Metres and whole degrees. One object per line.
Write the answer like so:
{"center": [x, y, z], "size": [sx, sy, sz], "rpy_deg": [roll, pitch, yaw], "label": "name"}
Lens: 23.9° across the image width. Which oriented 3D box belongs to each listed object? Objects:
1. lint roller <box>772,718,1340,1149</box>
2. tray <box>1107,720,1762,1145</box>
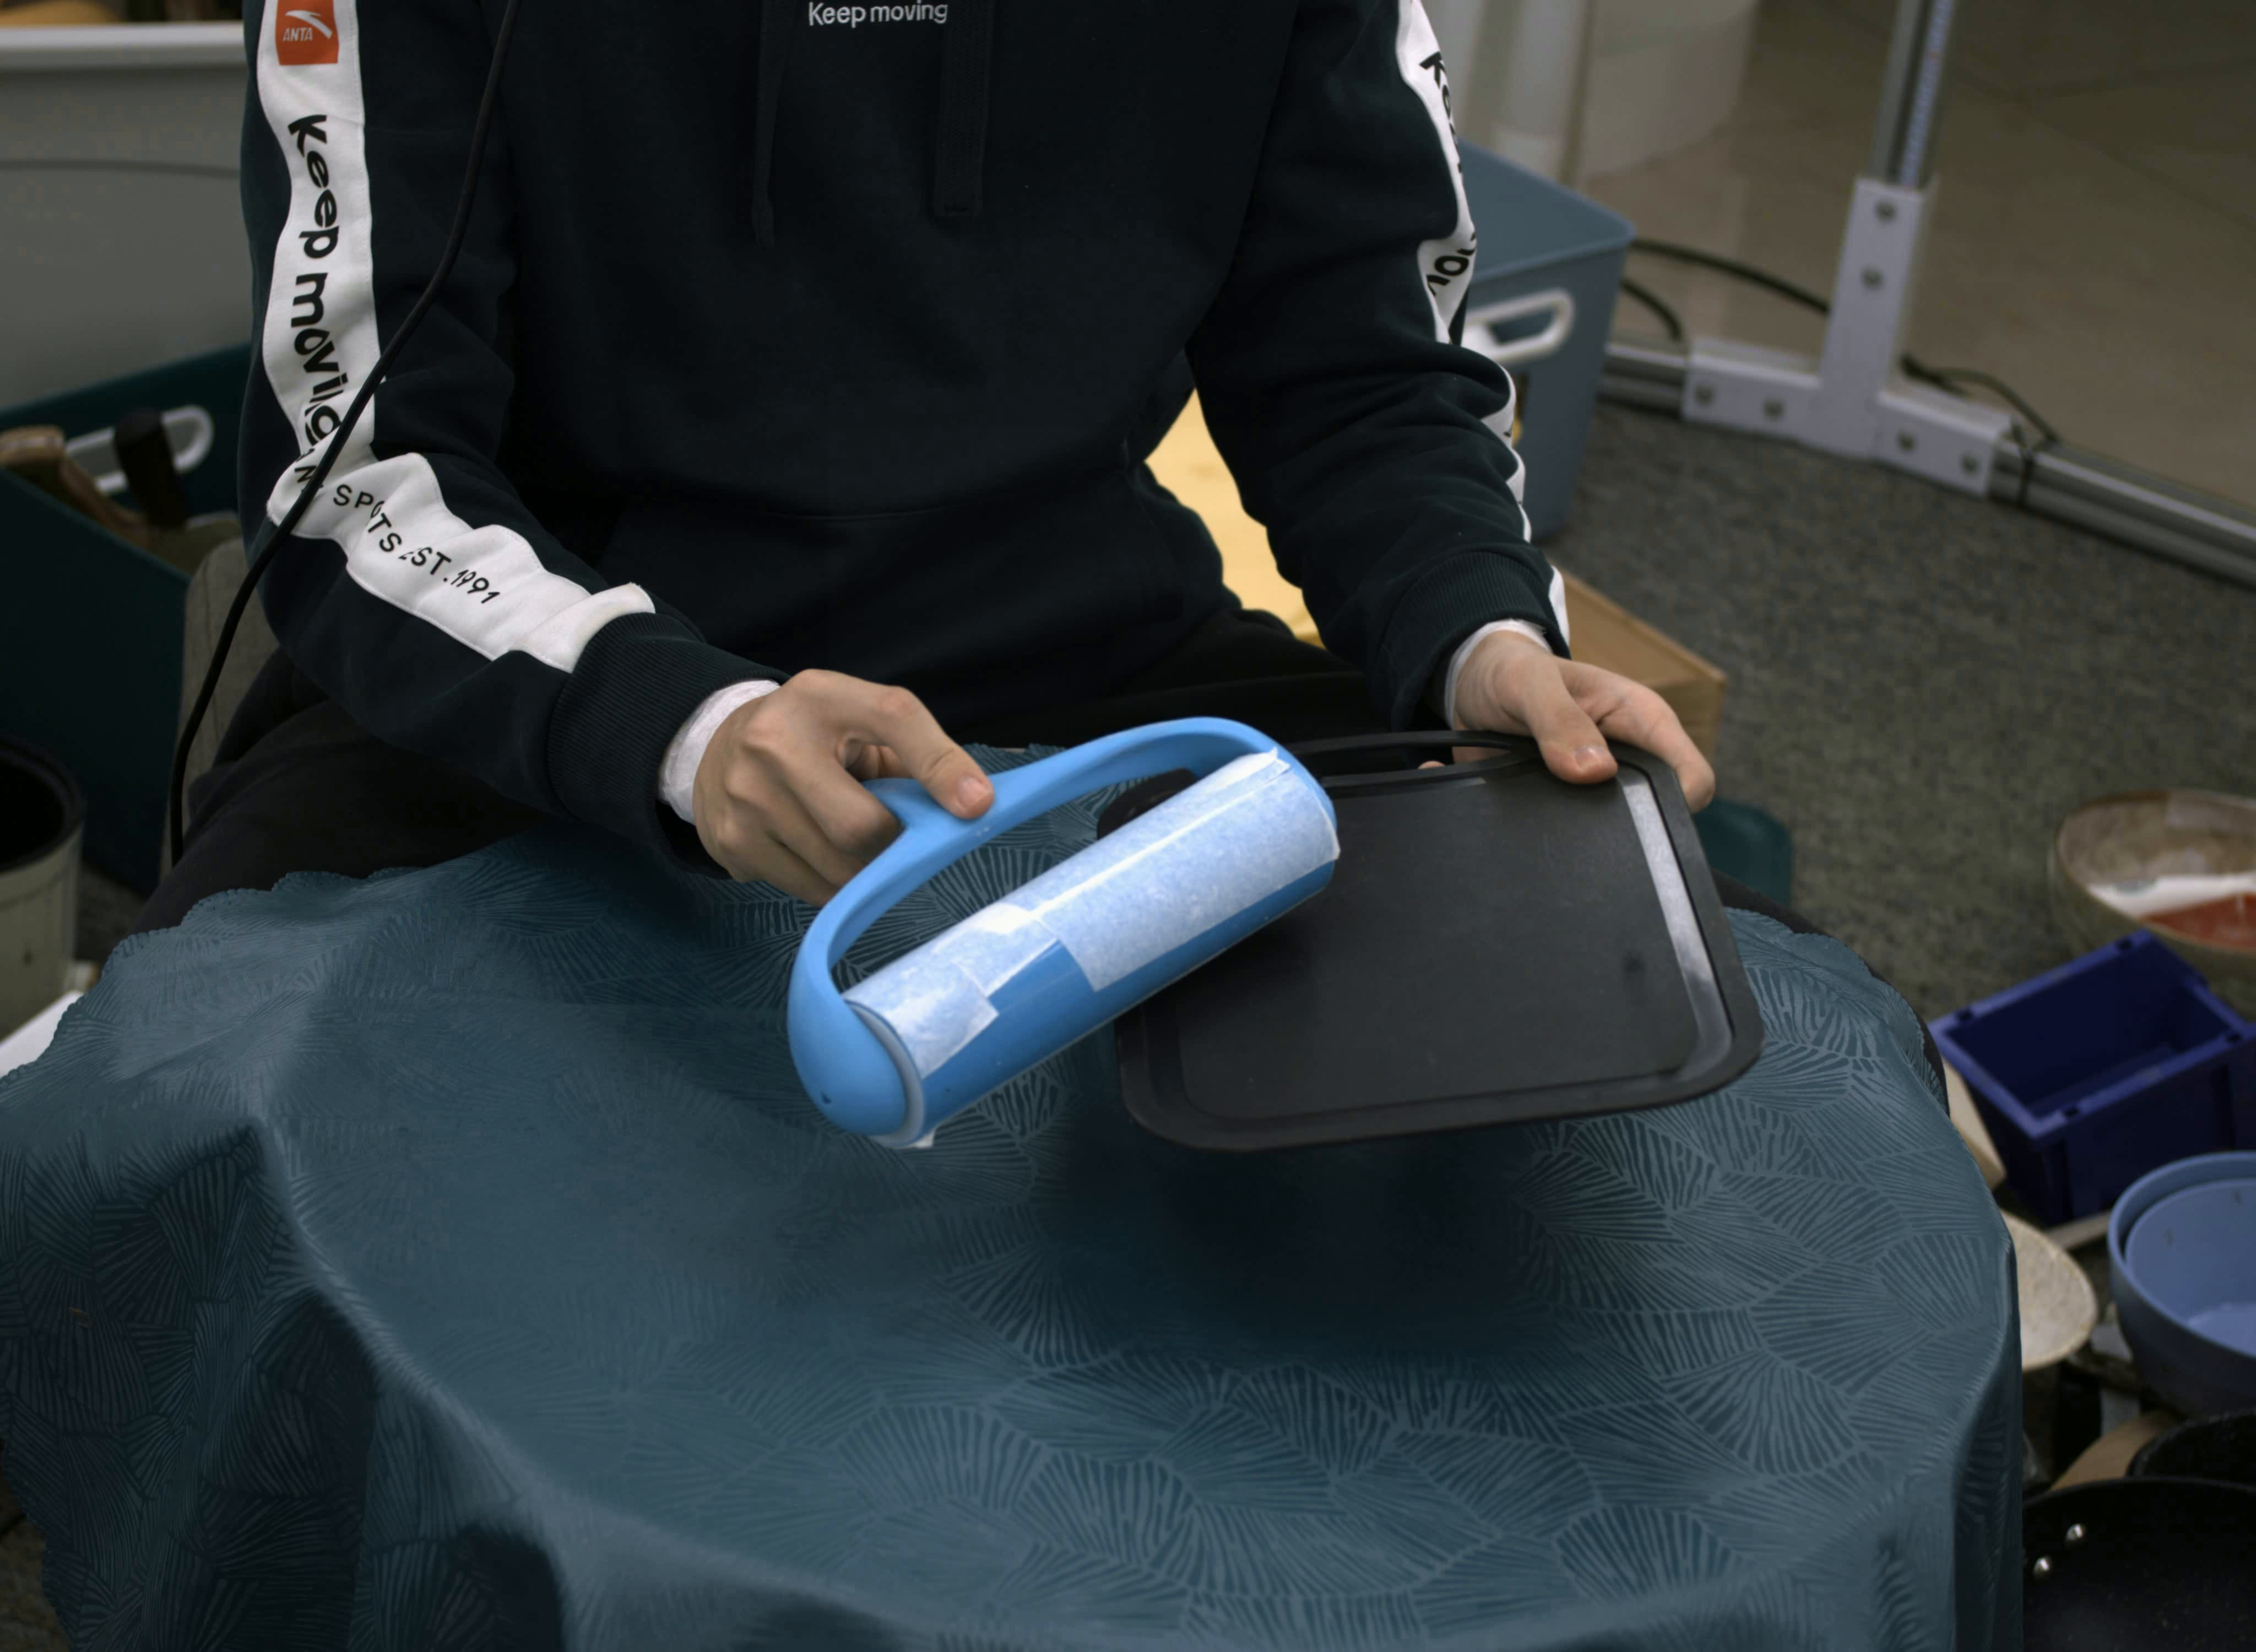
{"center": [-0.058, 0.019, 1.789], "size": [0.181, 0.067, 0.228], "rpy_deg": [24, 44, 36], "label": "lint roller"}
{"center": [0.095, 0.028, 1.819], "size": [0.210, 0.010, 0.327], "rpy_deg": [-6, 24, 1], "label": "tray"}
